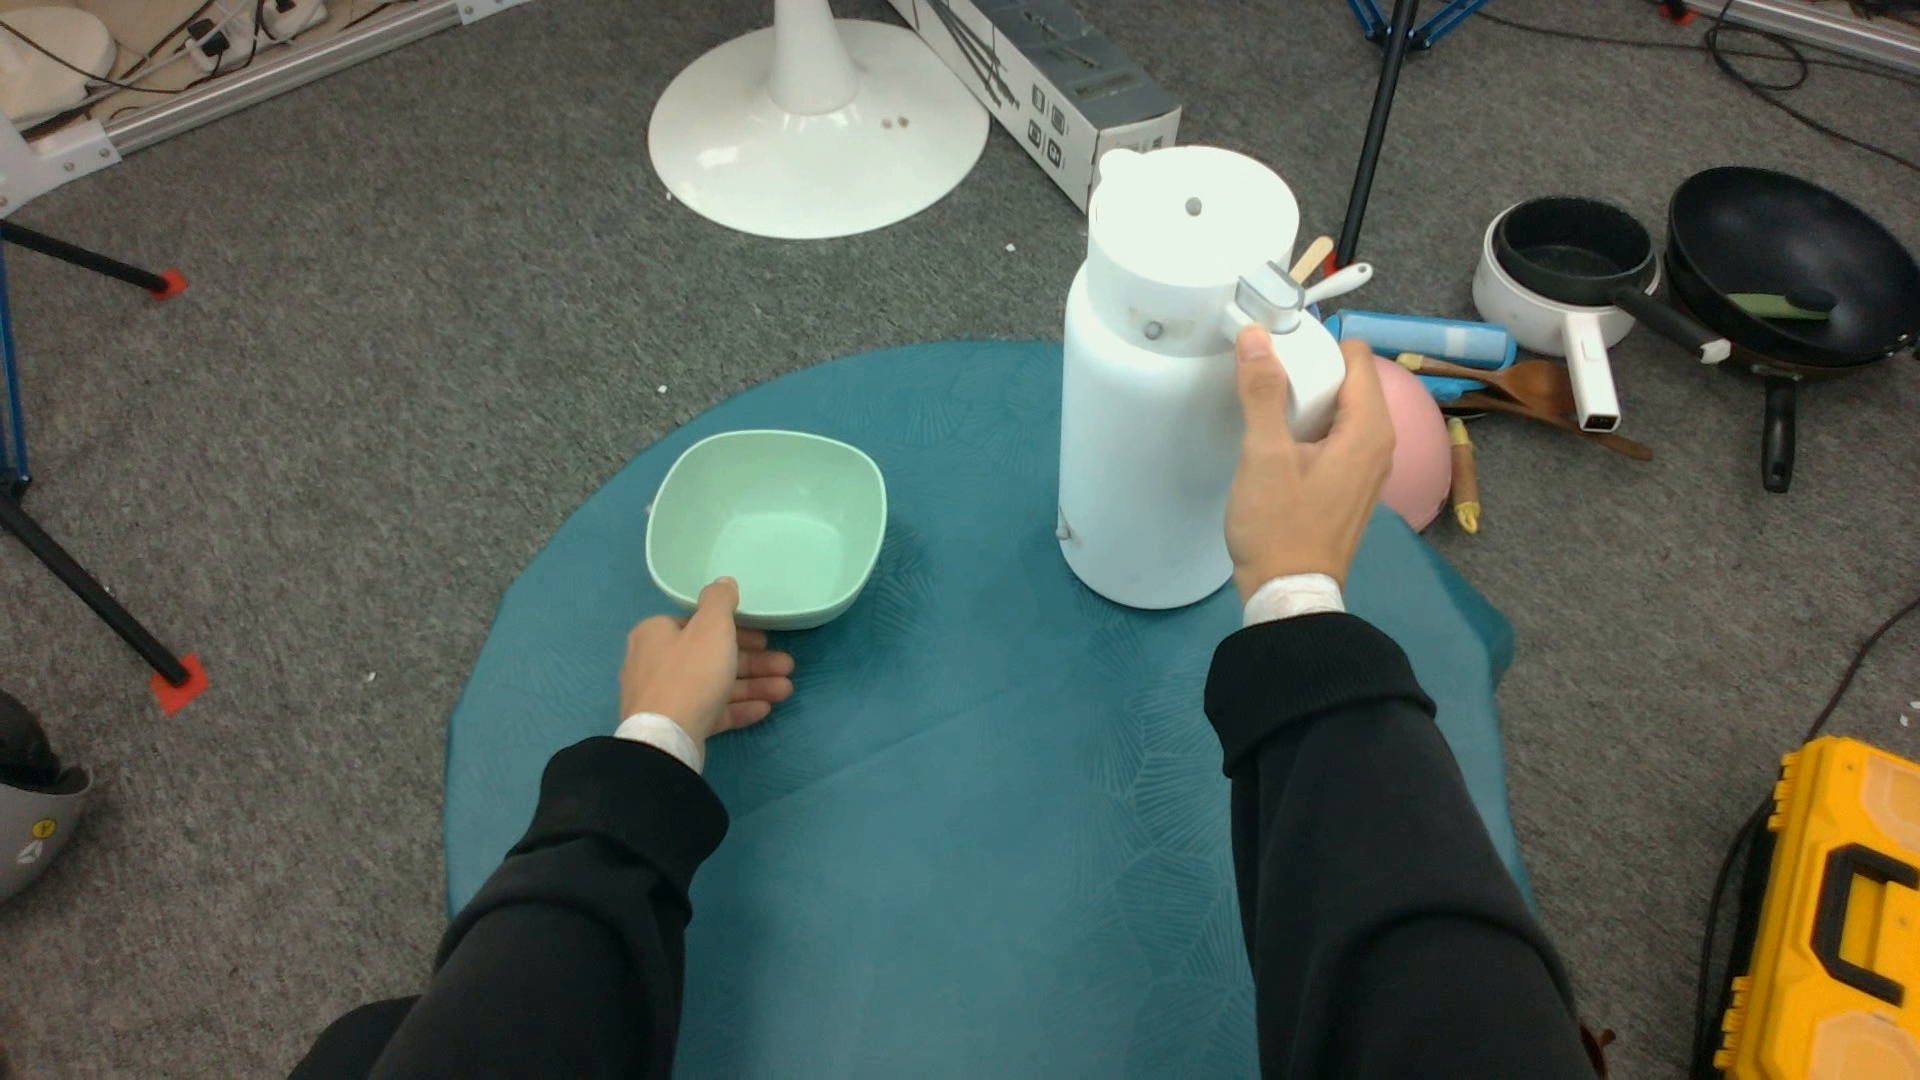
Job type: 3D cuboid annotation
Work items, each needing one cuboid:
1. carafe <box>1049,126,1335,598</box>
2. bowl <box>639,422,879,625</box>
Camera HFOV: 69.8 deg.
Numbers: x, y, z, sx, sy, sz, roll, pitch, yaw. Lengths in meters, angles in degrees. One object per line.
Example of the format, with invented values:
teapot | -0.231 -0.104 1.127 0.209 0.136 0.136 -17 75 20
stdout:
carafe | 0.120 -0.074 0.750 0.124 0.267 0.173 -28 58 -19
bowl | -0.119 0.000 0.833 0.151 0.058 0.152 1 55 -2
